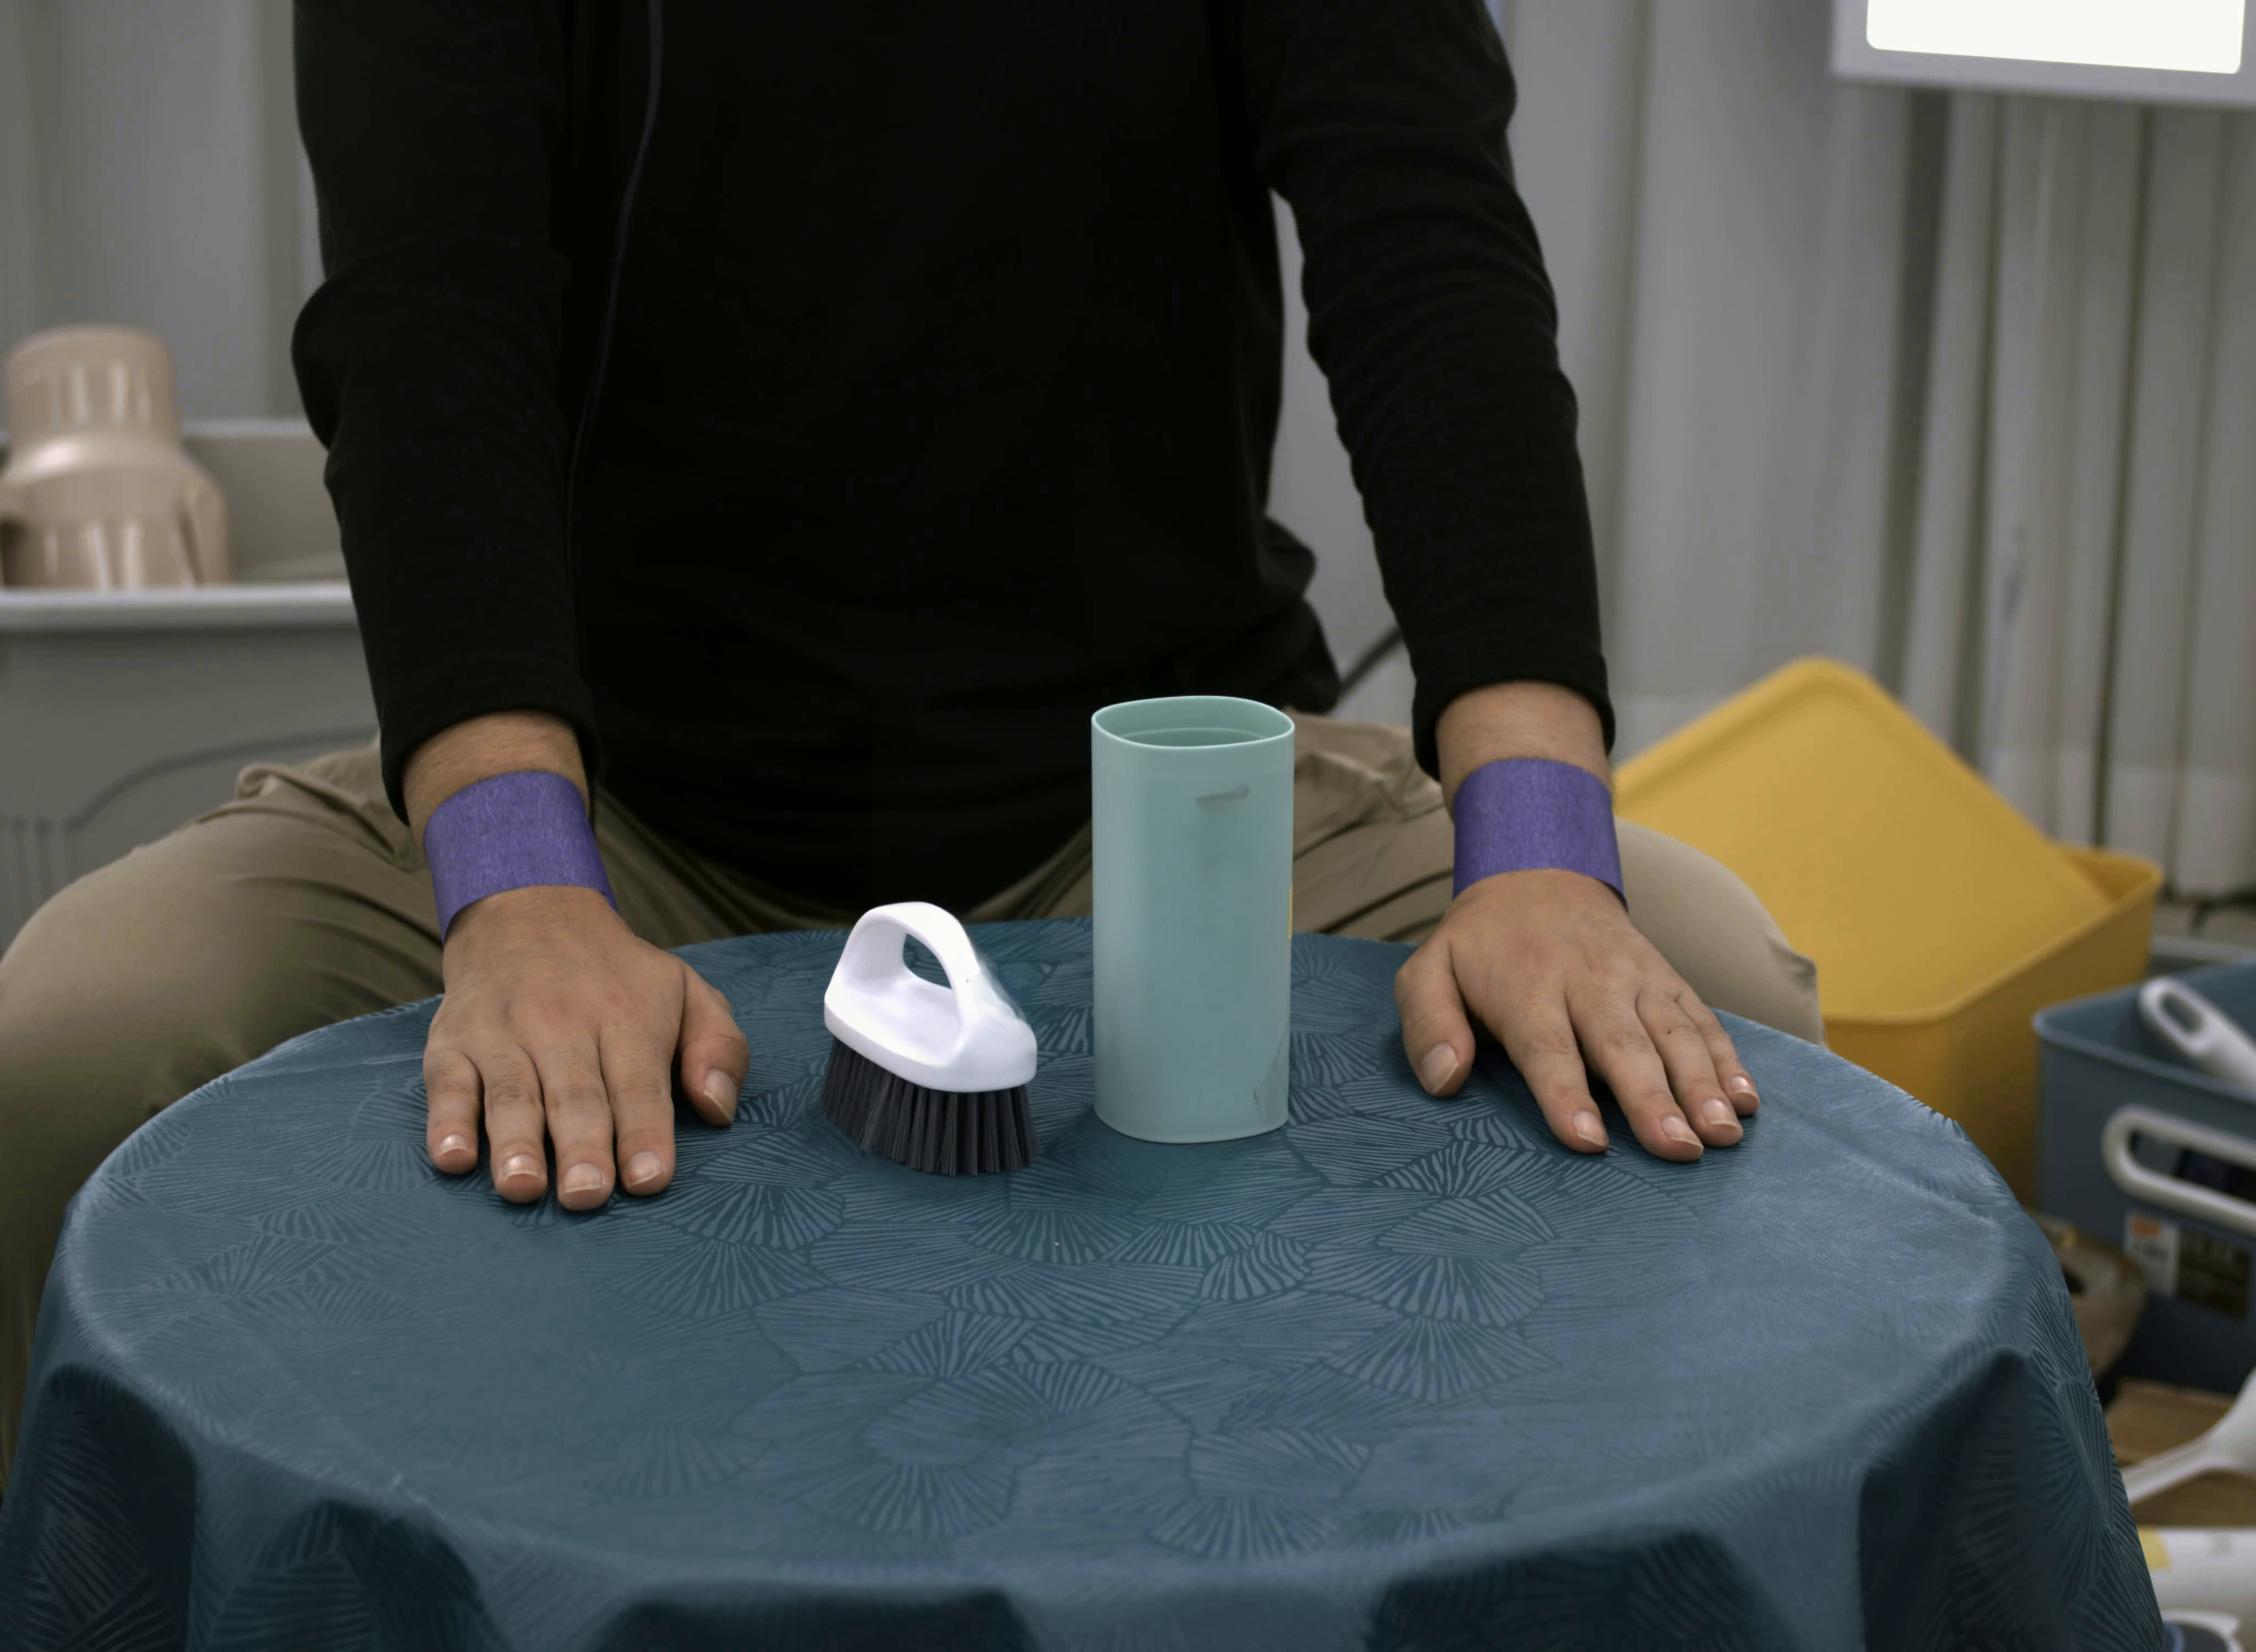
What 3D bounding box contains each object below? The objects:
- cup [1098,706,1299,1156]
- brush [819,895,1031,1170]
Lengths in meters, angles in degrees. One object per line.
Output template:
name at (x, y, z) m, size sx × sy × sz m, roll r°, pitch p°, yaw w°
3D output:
cup at (0.020, 0.033, 1.678) m, size 0.066 × 0.133 × 0.066 m, roll 0°, pitch 17°, yaw 0°
brush at (-0.065, 0.060, 1.666) m, size 0.050 × 0.073 × 0.098 m, roll -6°, pitch 18°, yaw -26°
